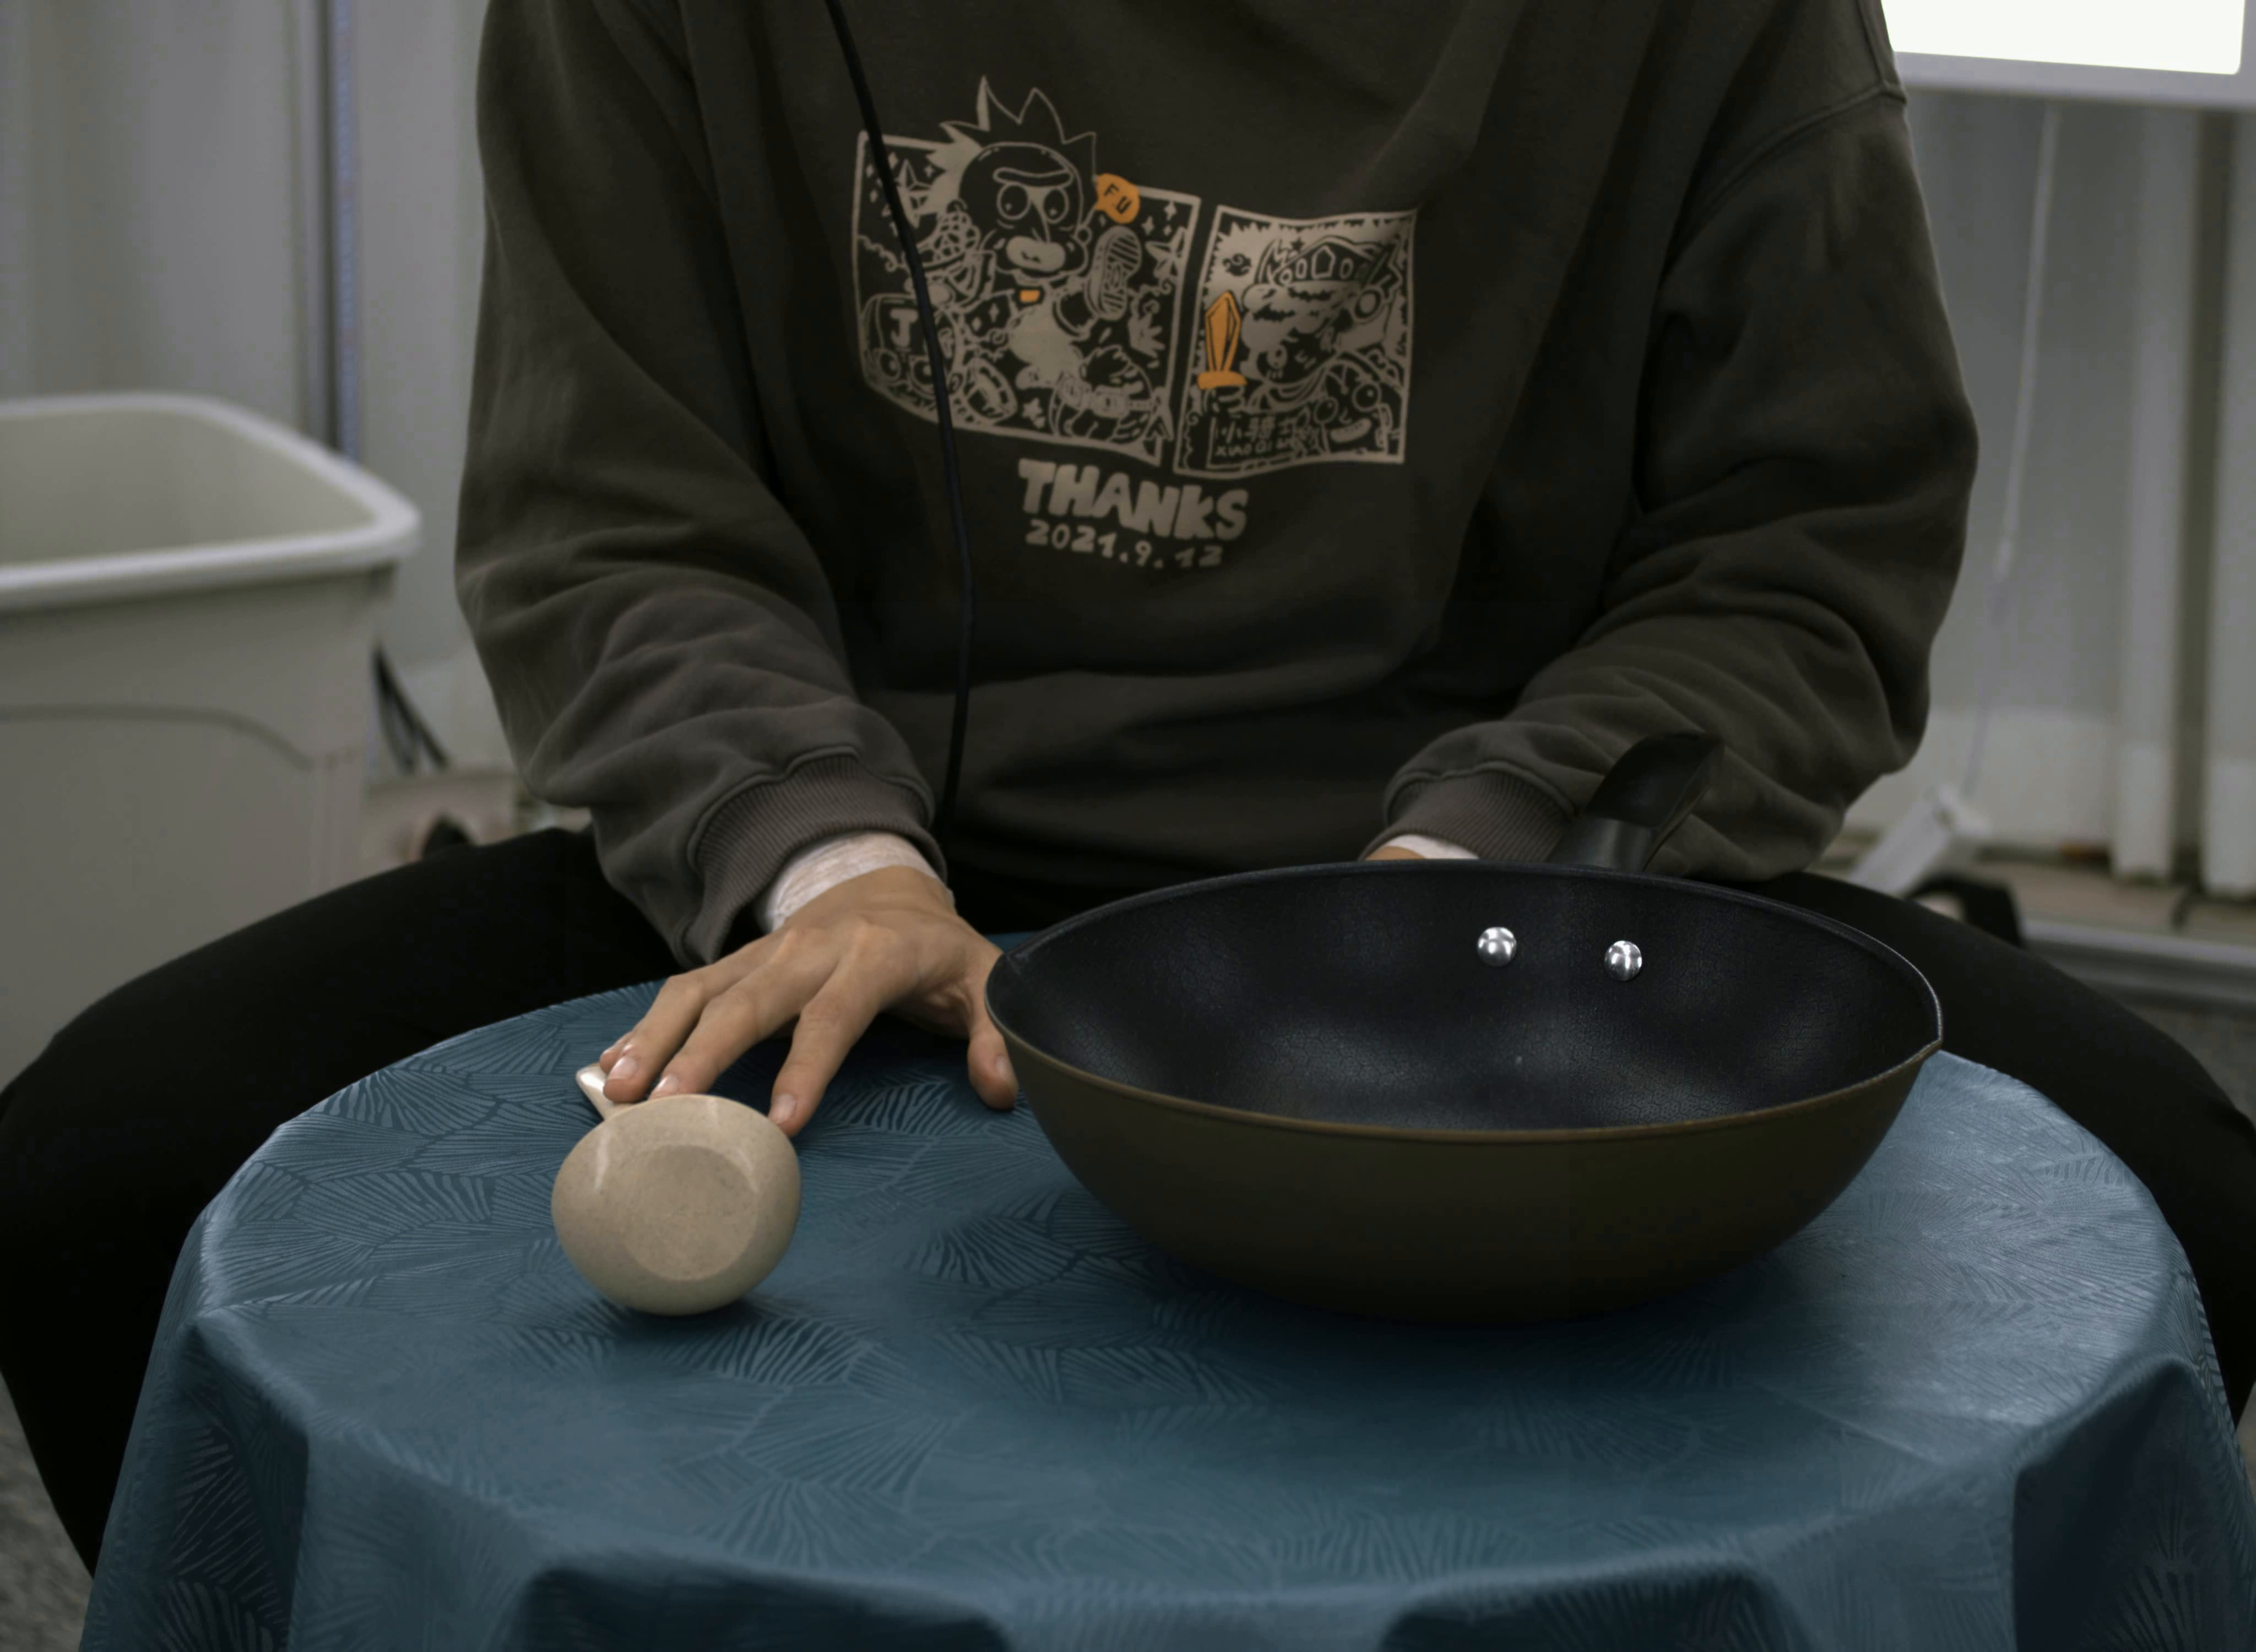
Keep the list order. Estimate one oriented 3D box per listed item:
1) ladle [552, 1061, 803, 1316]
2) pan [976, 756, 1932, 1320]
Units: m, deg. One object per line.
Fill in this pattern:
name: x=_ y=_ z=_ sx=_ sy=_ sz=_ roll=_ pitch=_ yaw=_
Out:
ladle: x=-0.153 y=0.080 z=1.605 sx=0.072 sy=0.073 sz=0.252 roll=-8 pitch=17 yaw=-13
pan: x=0.124 y=0.063 z=1.659 sx=0.285 sy=0.087 sz=0.463 roll=5 pitch=15 yaw=17
